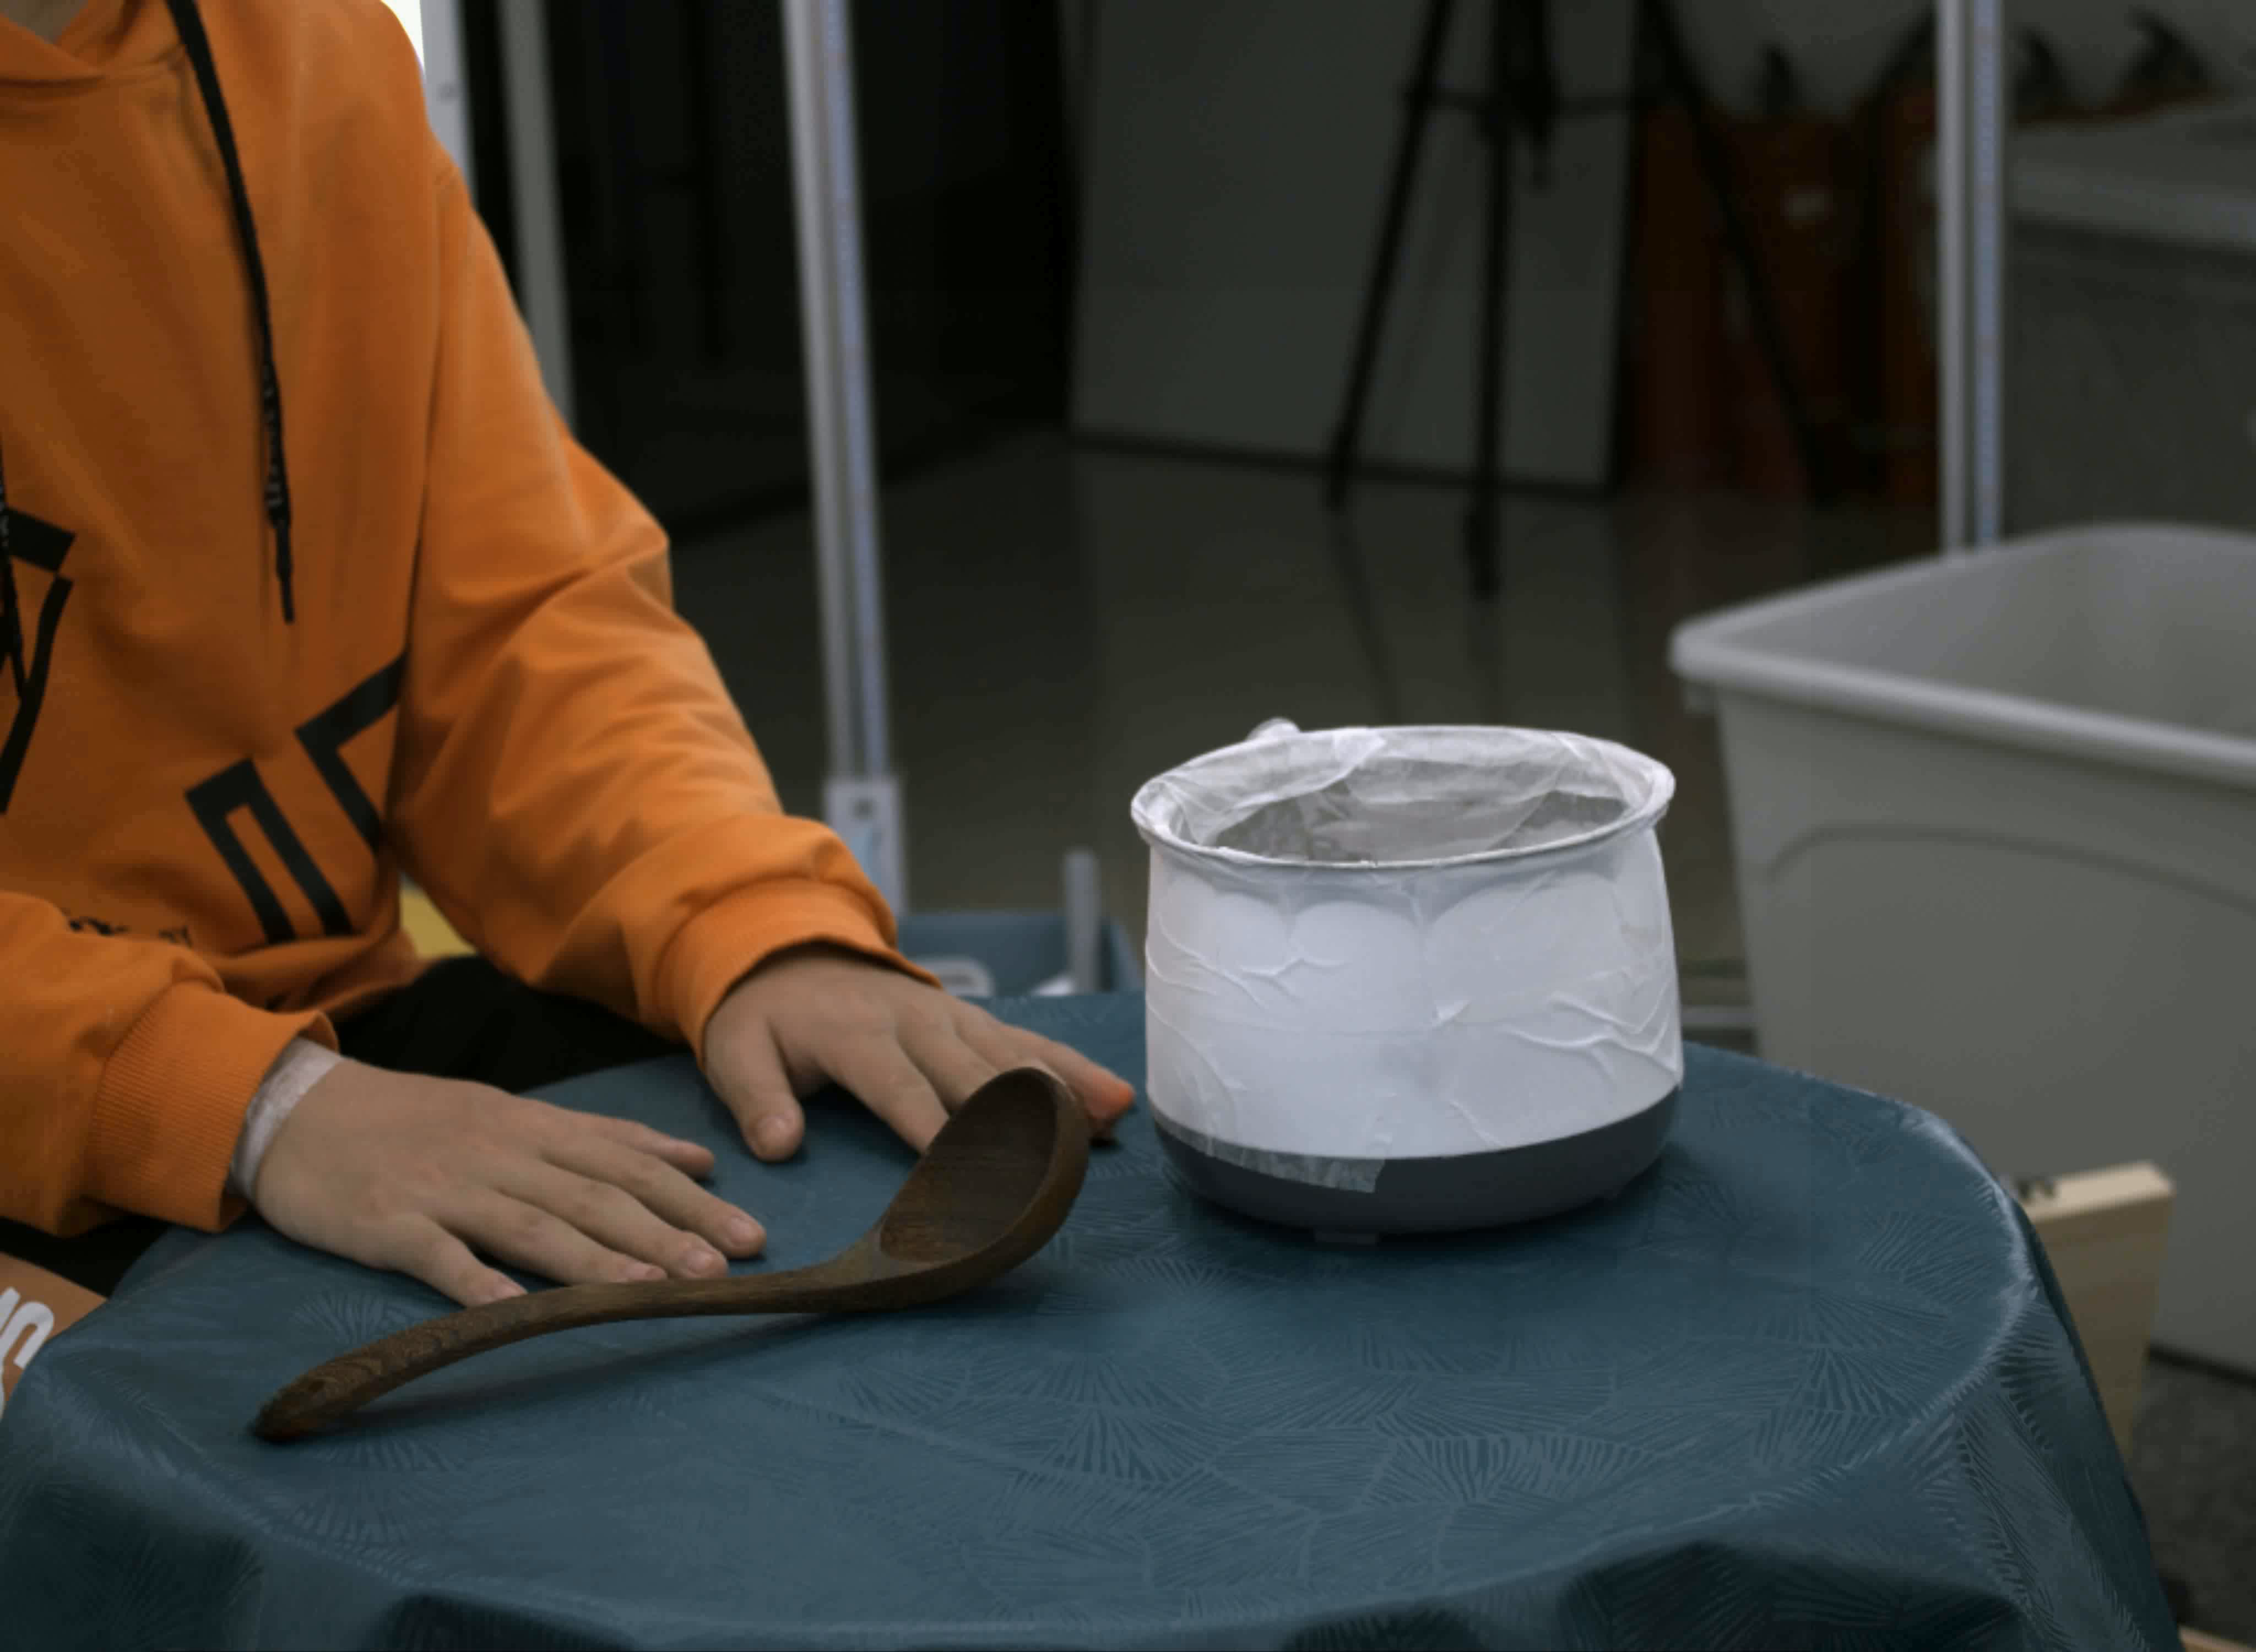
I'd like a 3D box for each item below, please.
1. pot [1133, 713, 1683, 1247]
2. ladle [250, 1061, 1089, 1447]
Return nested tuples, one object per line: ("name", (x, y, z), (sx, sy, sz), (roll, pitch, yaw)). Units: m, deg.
("pot", (0.080, 0.044, 1.772), (0.175, 0.138, 0.236), (-9, 15, -22))
("ladle", (-0.137, 0.127, 1.641), (0.268, 0.072, 0.077), (-9, 11, -24))
